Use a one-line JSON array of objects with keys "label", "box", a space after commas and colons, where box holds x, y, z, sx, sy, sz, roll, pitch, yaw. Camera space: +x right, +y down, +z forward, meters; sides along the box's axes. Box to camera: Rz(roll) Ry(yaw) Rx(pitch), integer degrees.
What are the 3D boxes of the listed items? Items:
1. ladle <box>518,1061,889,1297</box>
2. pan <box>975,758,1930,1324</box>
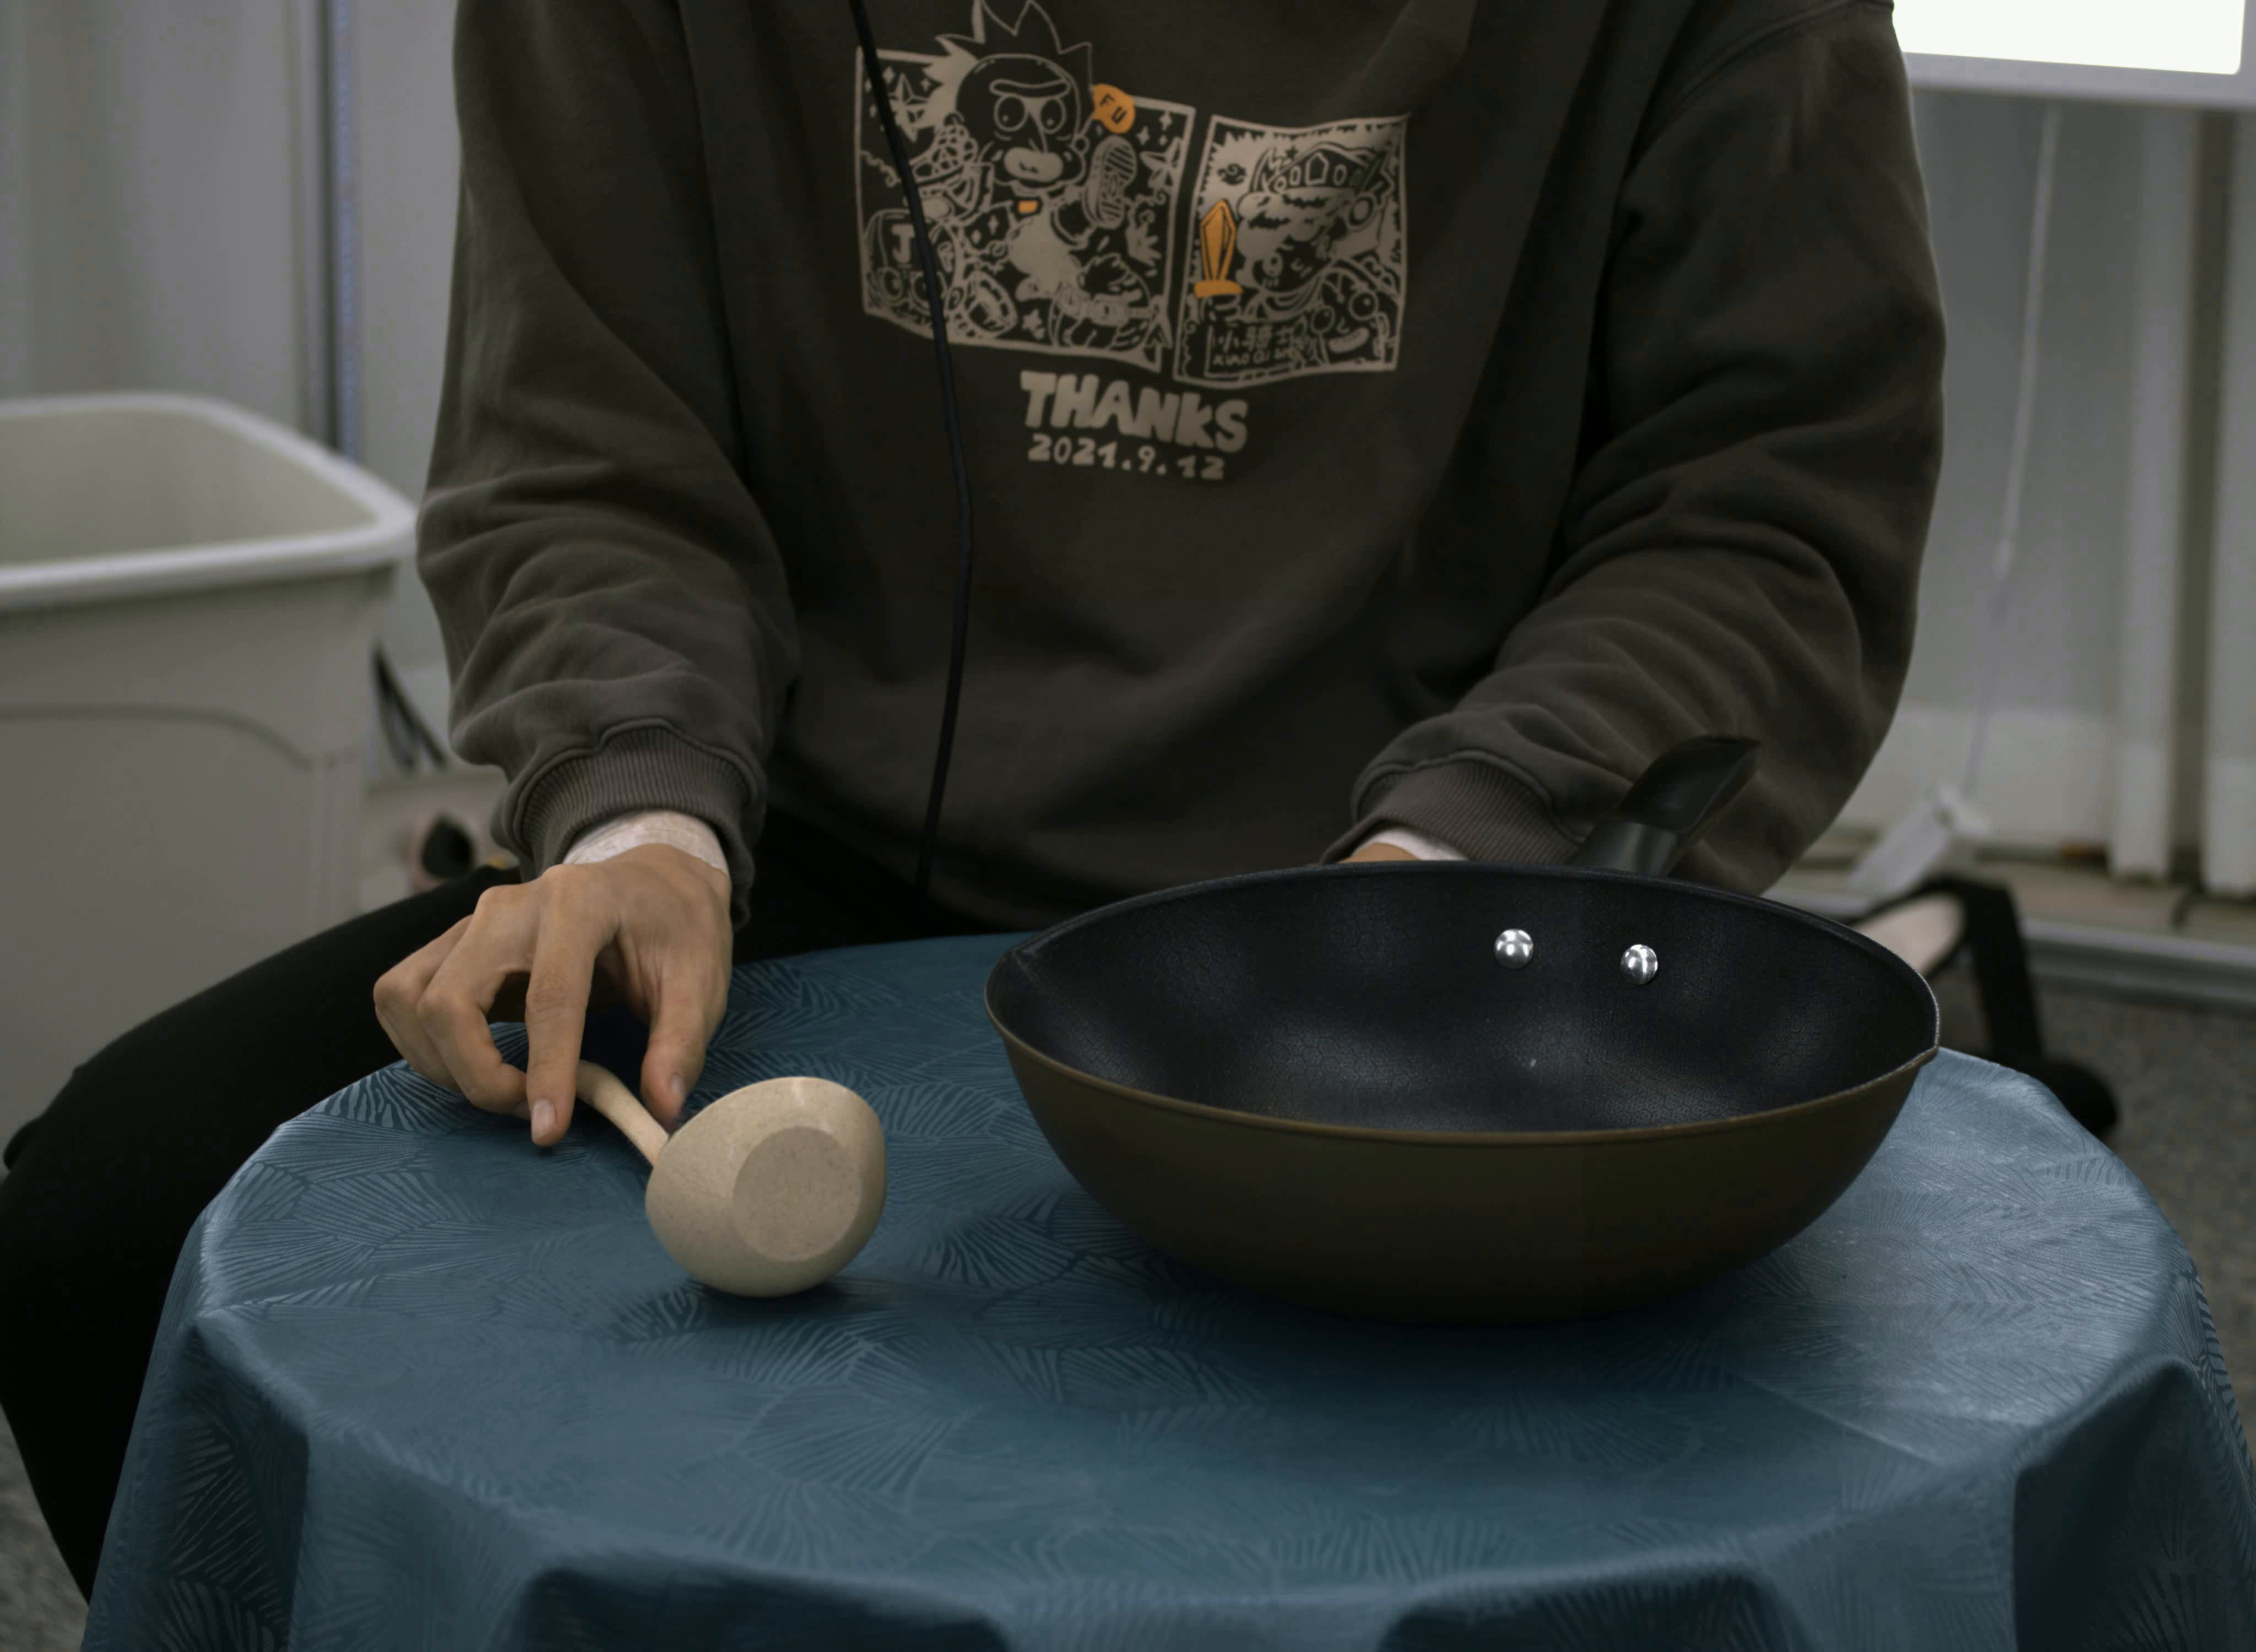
[{"label": "ladle", "box": [-0.145, 0.078, 1.614, 0.072, 0.073, 0.251, -11, 19, -23]}, {"label": "pan", "box": [0.128, 0.064, 1.656, 0.285, 0.087, 0.464, 6, 15, 20]}]
